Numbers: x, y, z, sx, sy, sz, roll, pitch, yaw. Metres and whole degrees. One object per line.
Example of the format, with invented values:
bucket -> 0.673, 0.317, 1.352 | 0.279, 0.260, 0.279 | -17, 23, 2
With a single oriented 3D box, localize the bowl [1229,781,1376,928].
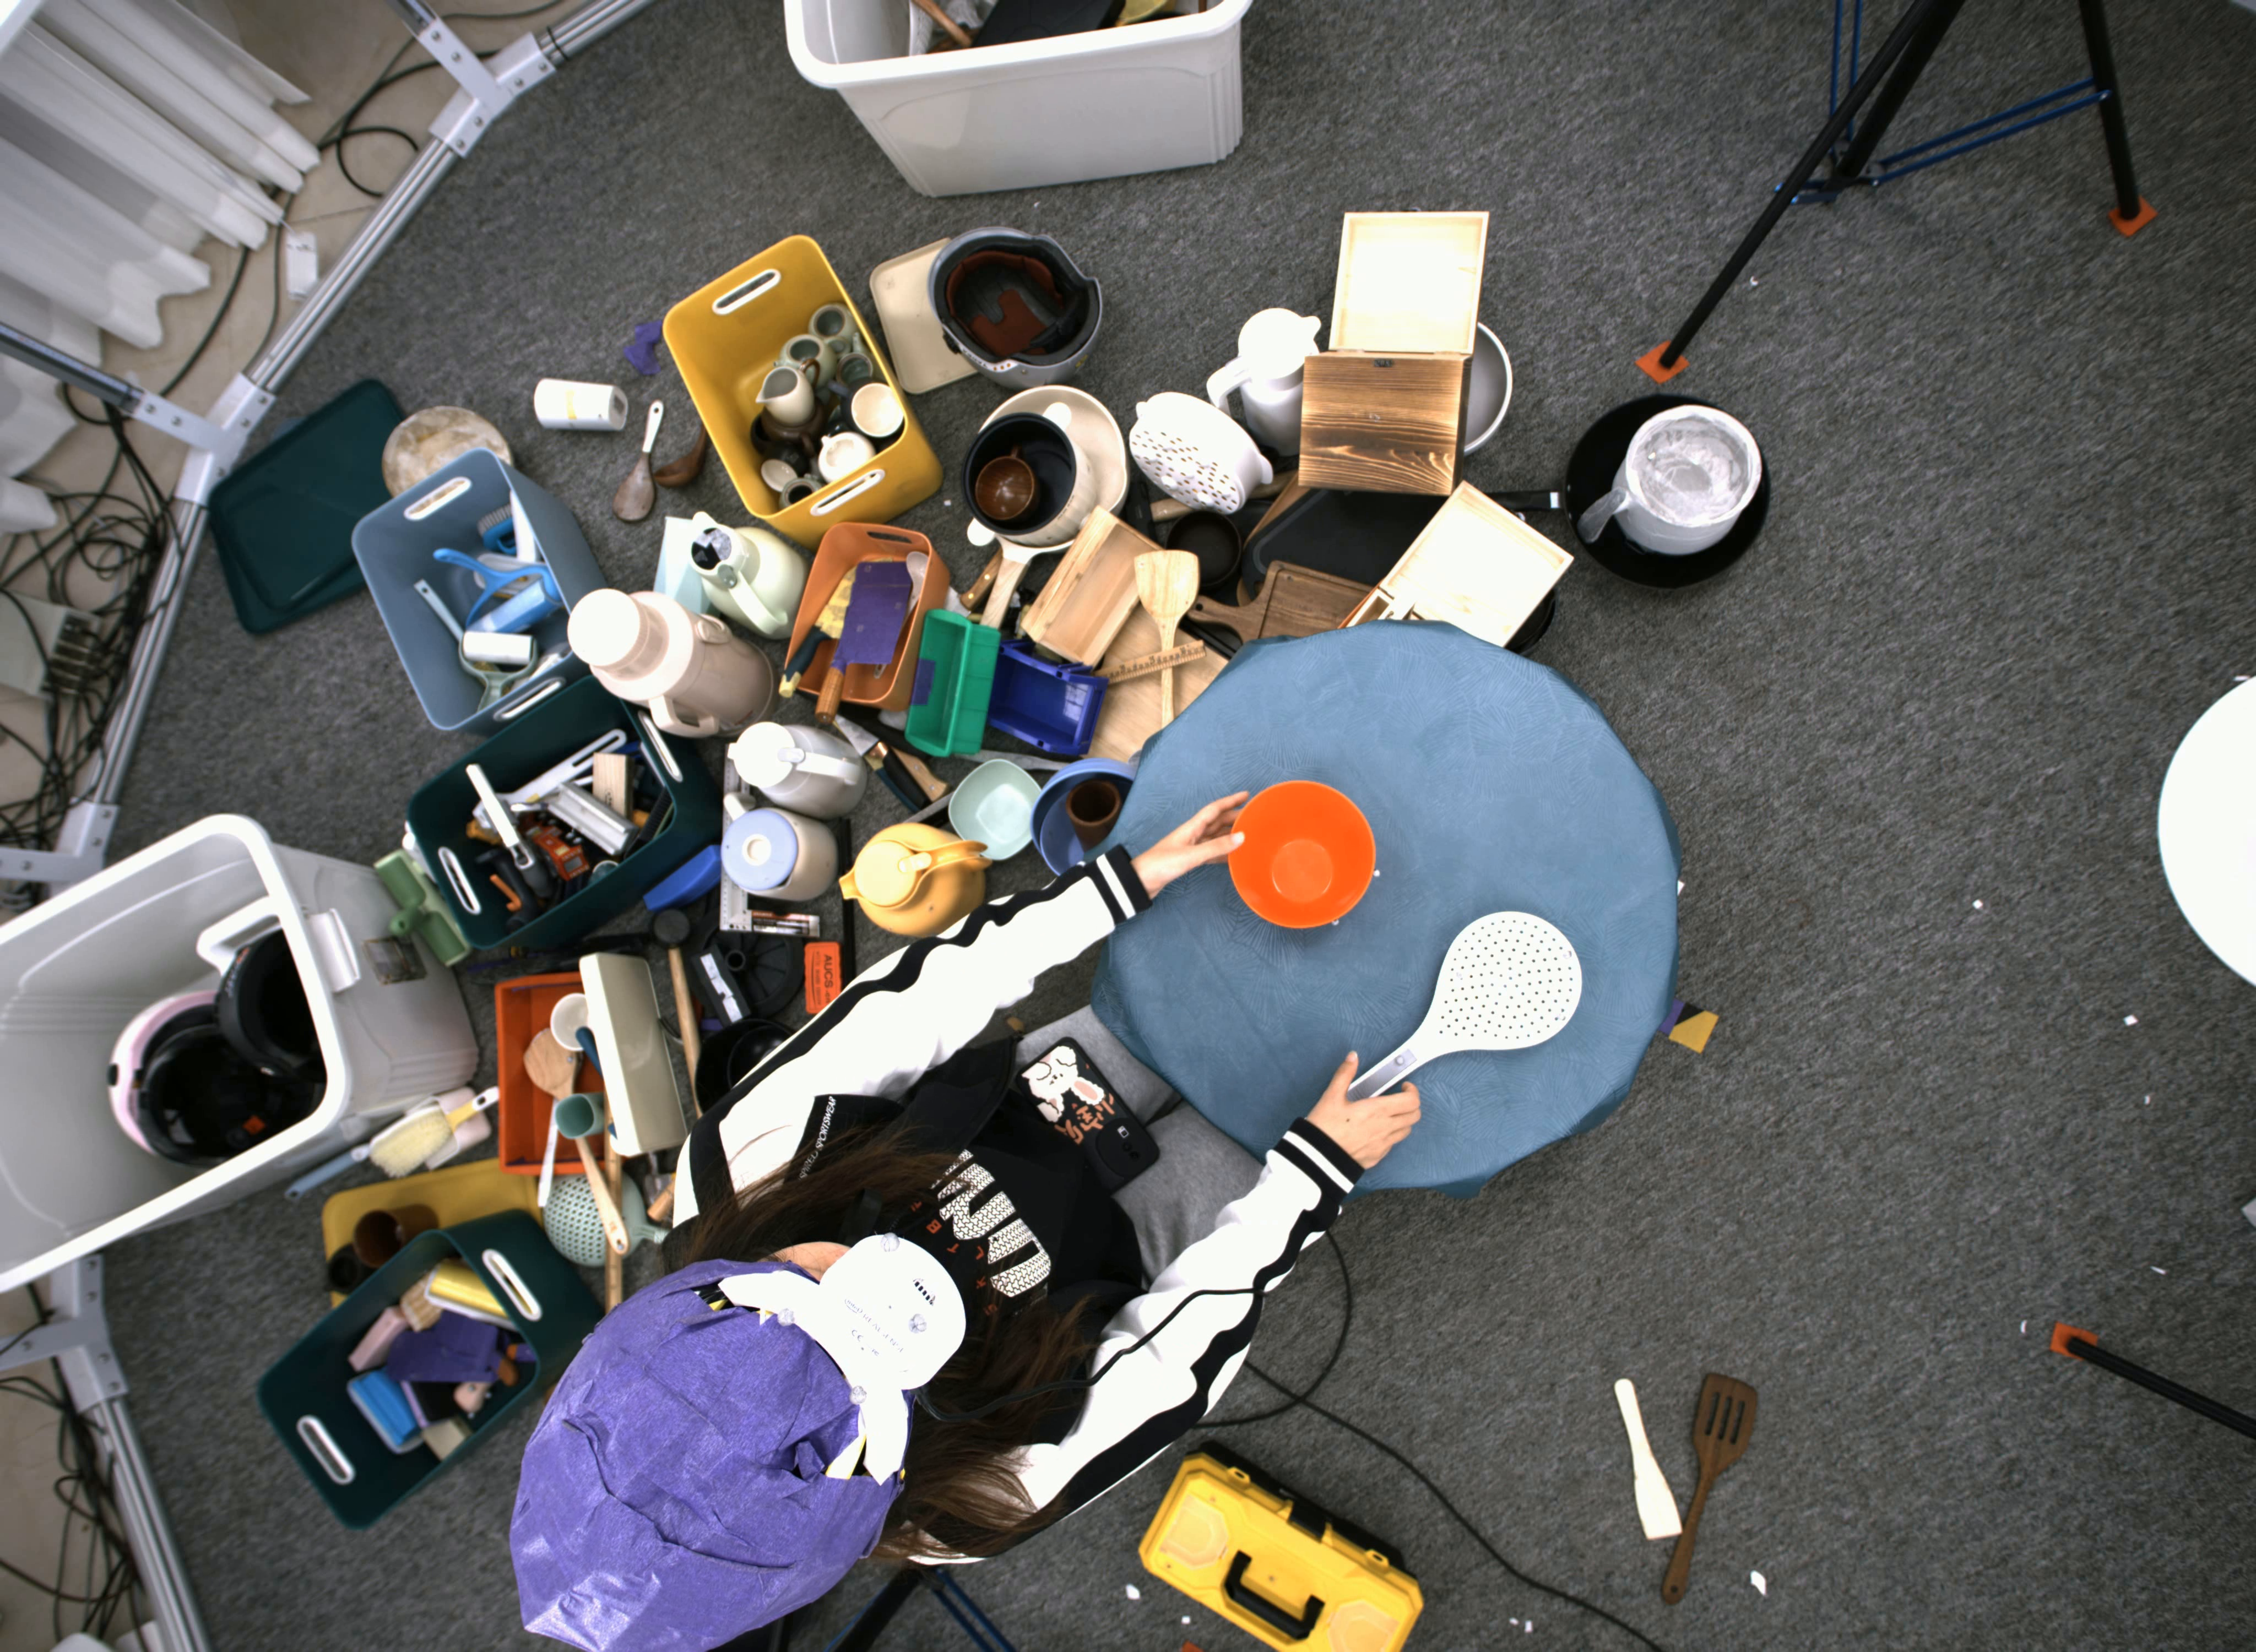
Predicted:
bowl -> 0.180, 0.032, 1.428 | 0.148, 0.104, 0.147 | -1, 87, 9

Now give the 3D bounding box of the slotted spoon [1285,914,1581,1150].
slotted spoon -> 0.307, 0.222, 1.422 | 0.352, 0.046, 0.135 | -38, 80, 7
